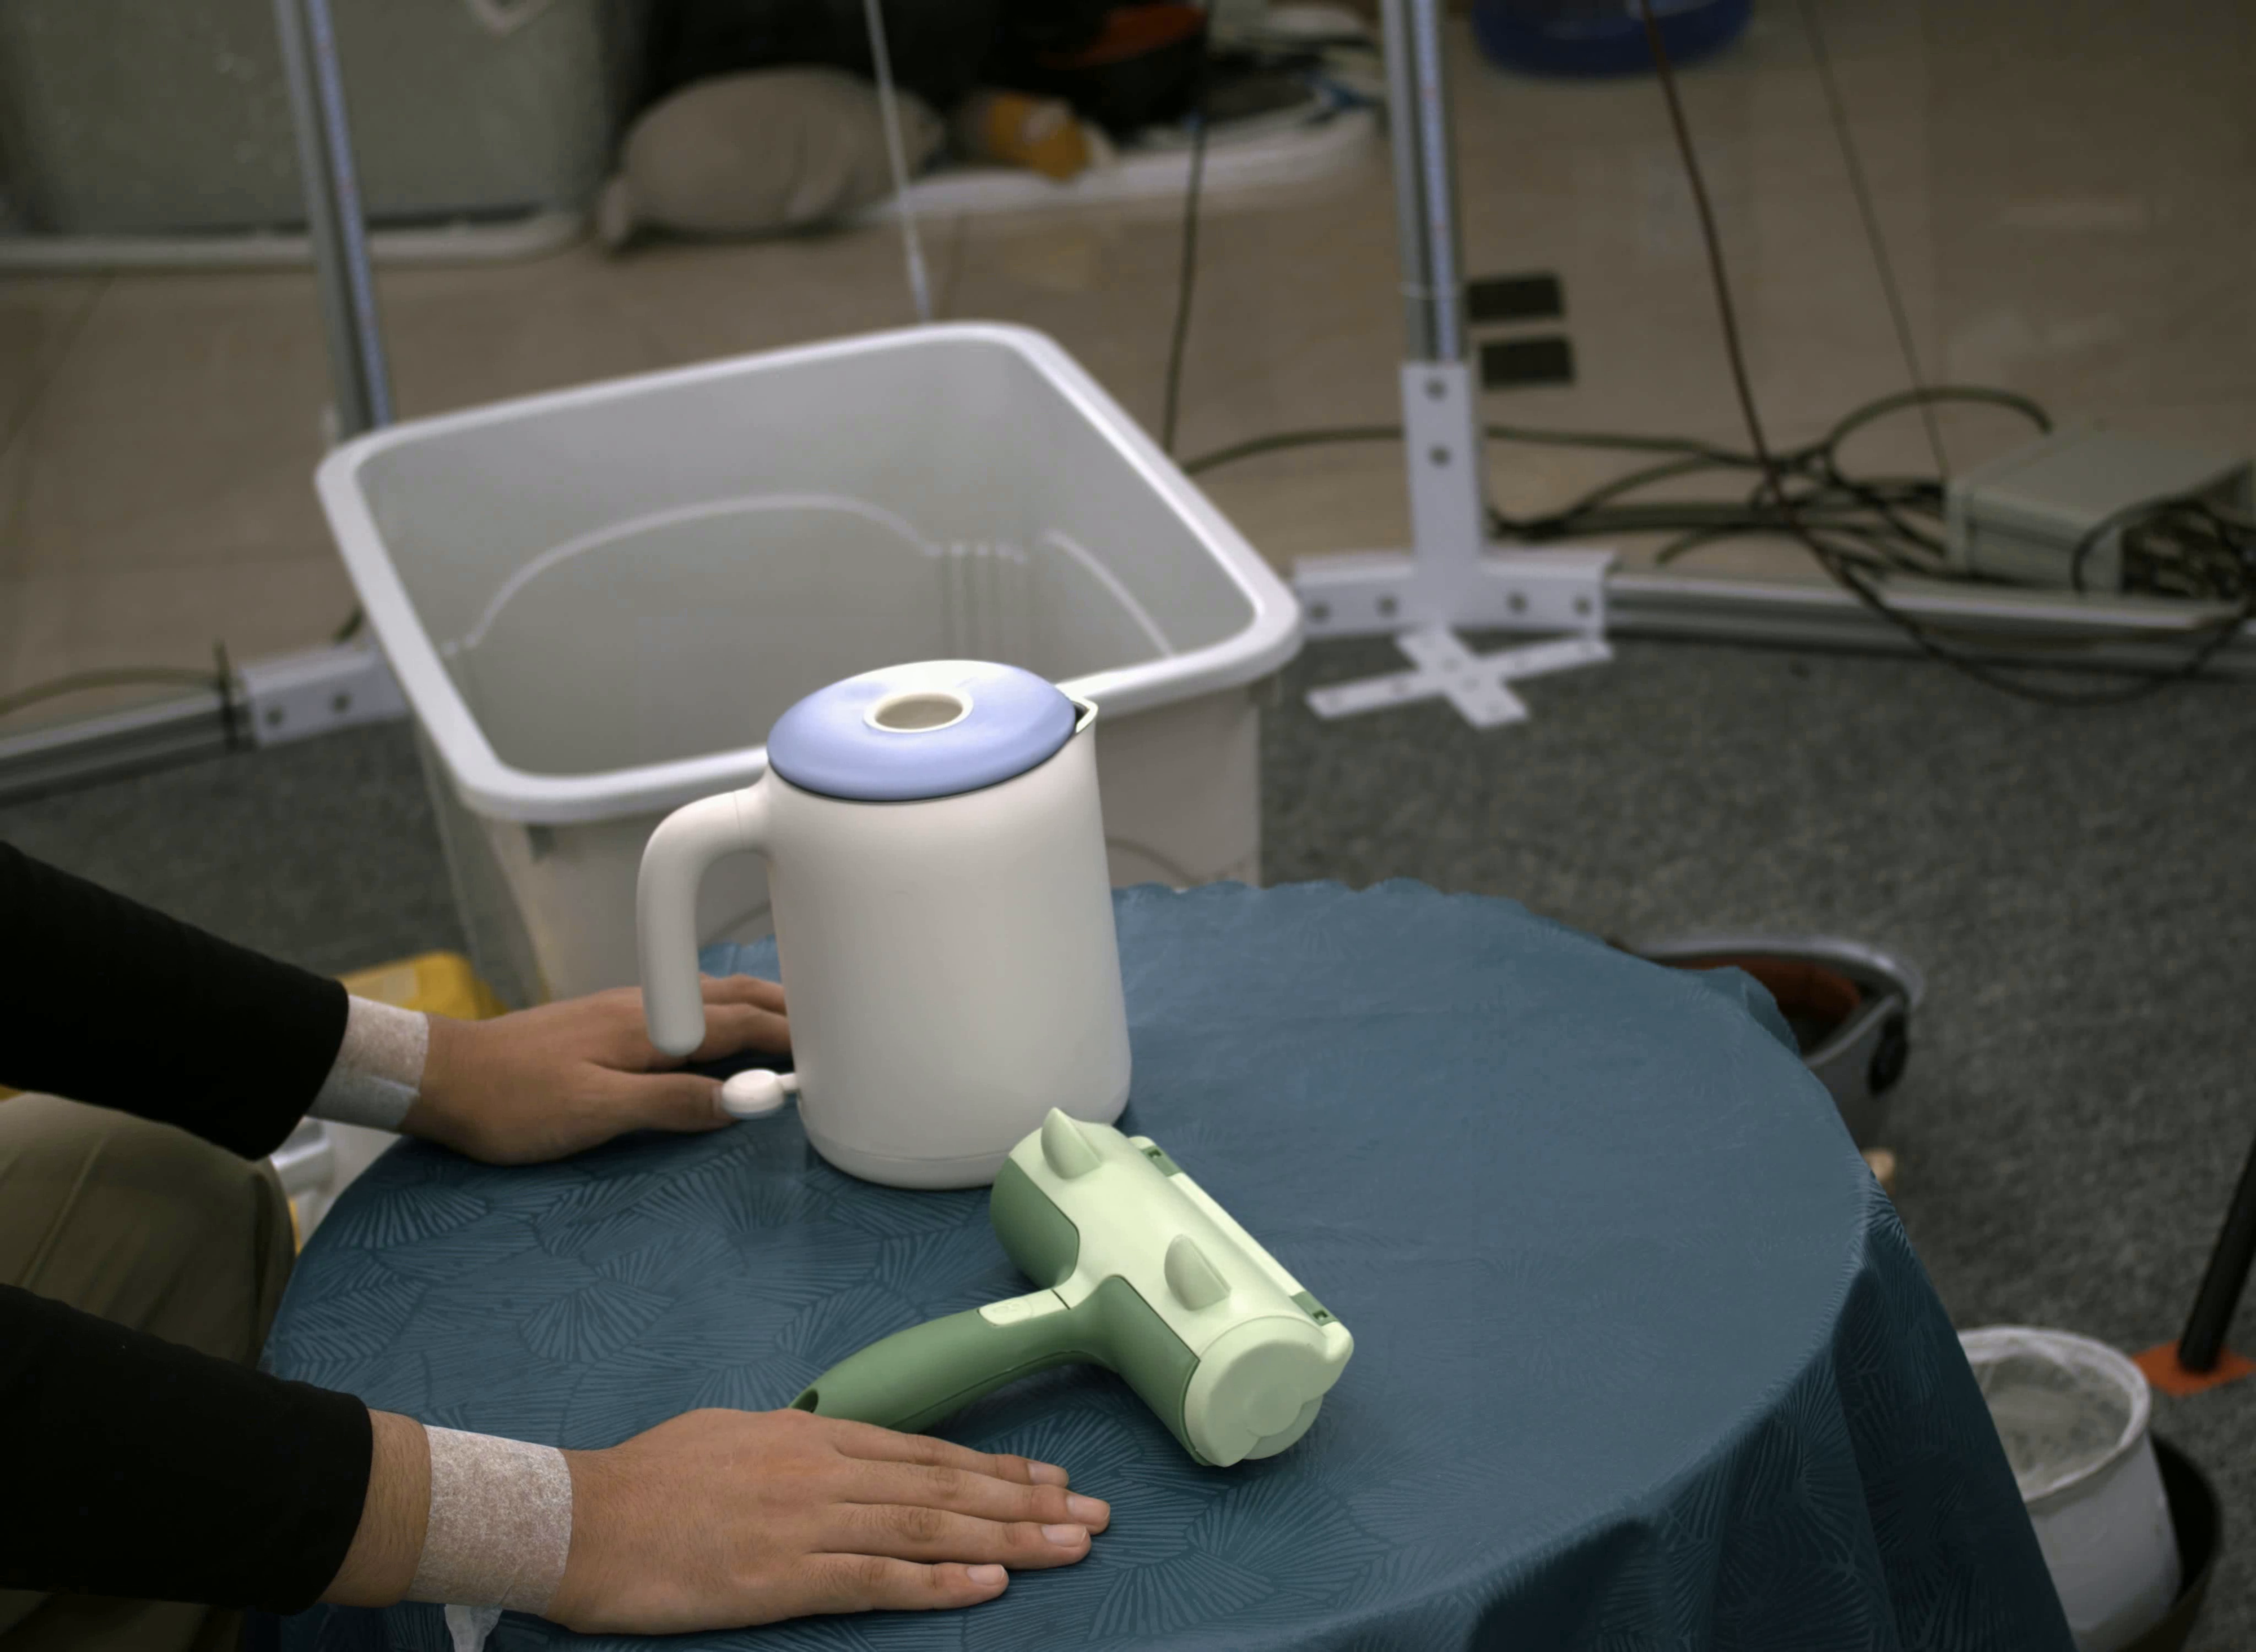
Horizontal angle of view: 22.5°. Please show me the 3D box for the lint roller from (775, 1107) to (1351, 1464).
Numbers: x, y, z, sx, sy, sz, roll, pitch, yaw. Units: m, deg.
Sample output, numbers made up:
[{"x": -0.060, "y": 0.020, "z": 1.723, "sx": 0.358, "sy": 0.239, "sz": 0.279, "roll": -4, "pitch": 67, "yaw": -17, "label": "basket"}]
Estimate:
[{"x": -0.041, "y": 0.168, "z": 2.004, "sx": 0.182, "sy": 0.083, "sz": 0.196, "roll": -13, "pitch": 24, "yaw": -19, "label": "lint roller"}]

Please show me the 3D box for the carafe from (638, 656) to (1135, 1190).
[{"x": -0.094, "y": 0.042, "z": 2.174, "sx": 0.190, "sy": 0.185, "sz": 0.130, "roll": -12, "pitch": 26, "yaw": -7, "label": "carafe"}]
